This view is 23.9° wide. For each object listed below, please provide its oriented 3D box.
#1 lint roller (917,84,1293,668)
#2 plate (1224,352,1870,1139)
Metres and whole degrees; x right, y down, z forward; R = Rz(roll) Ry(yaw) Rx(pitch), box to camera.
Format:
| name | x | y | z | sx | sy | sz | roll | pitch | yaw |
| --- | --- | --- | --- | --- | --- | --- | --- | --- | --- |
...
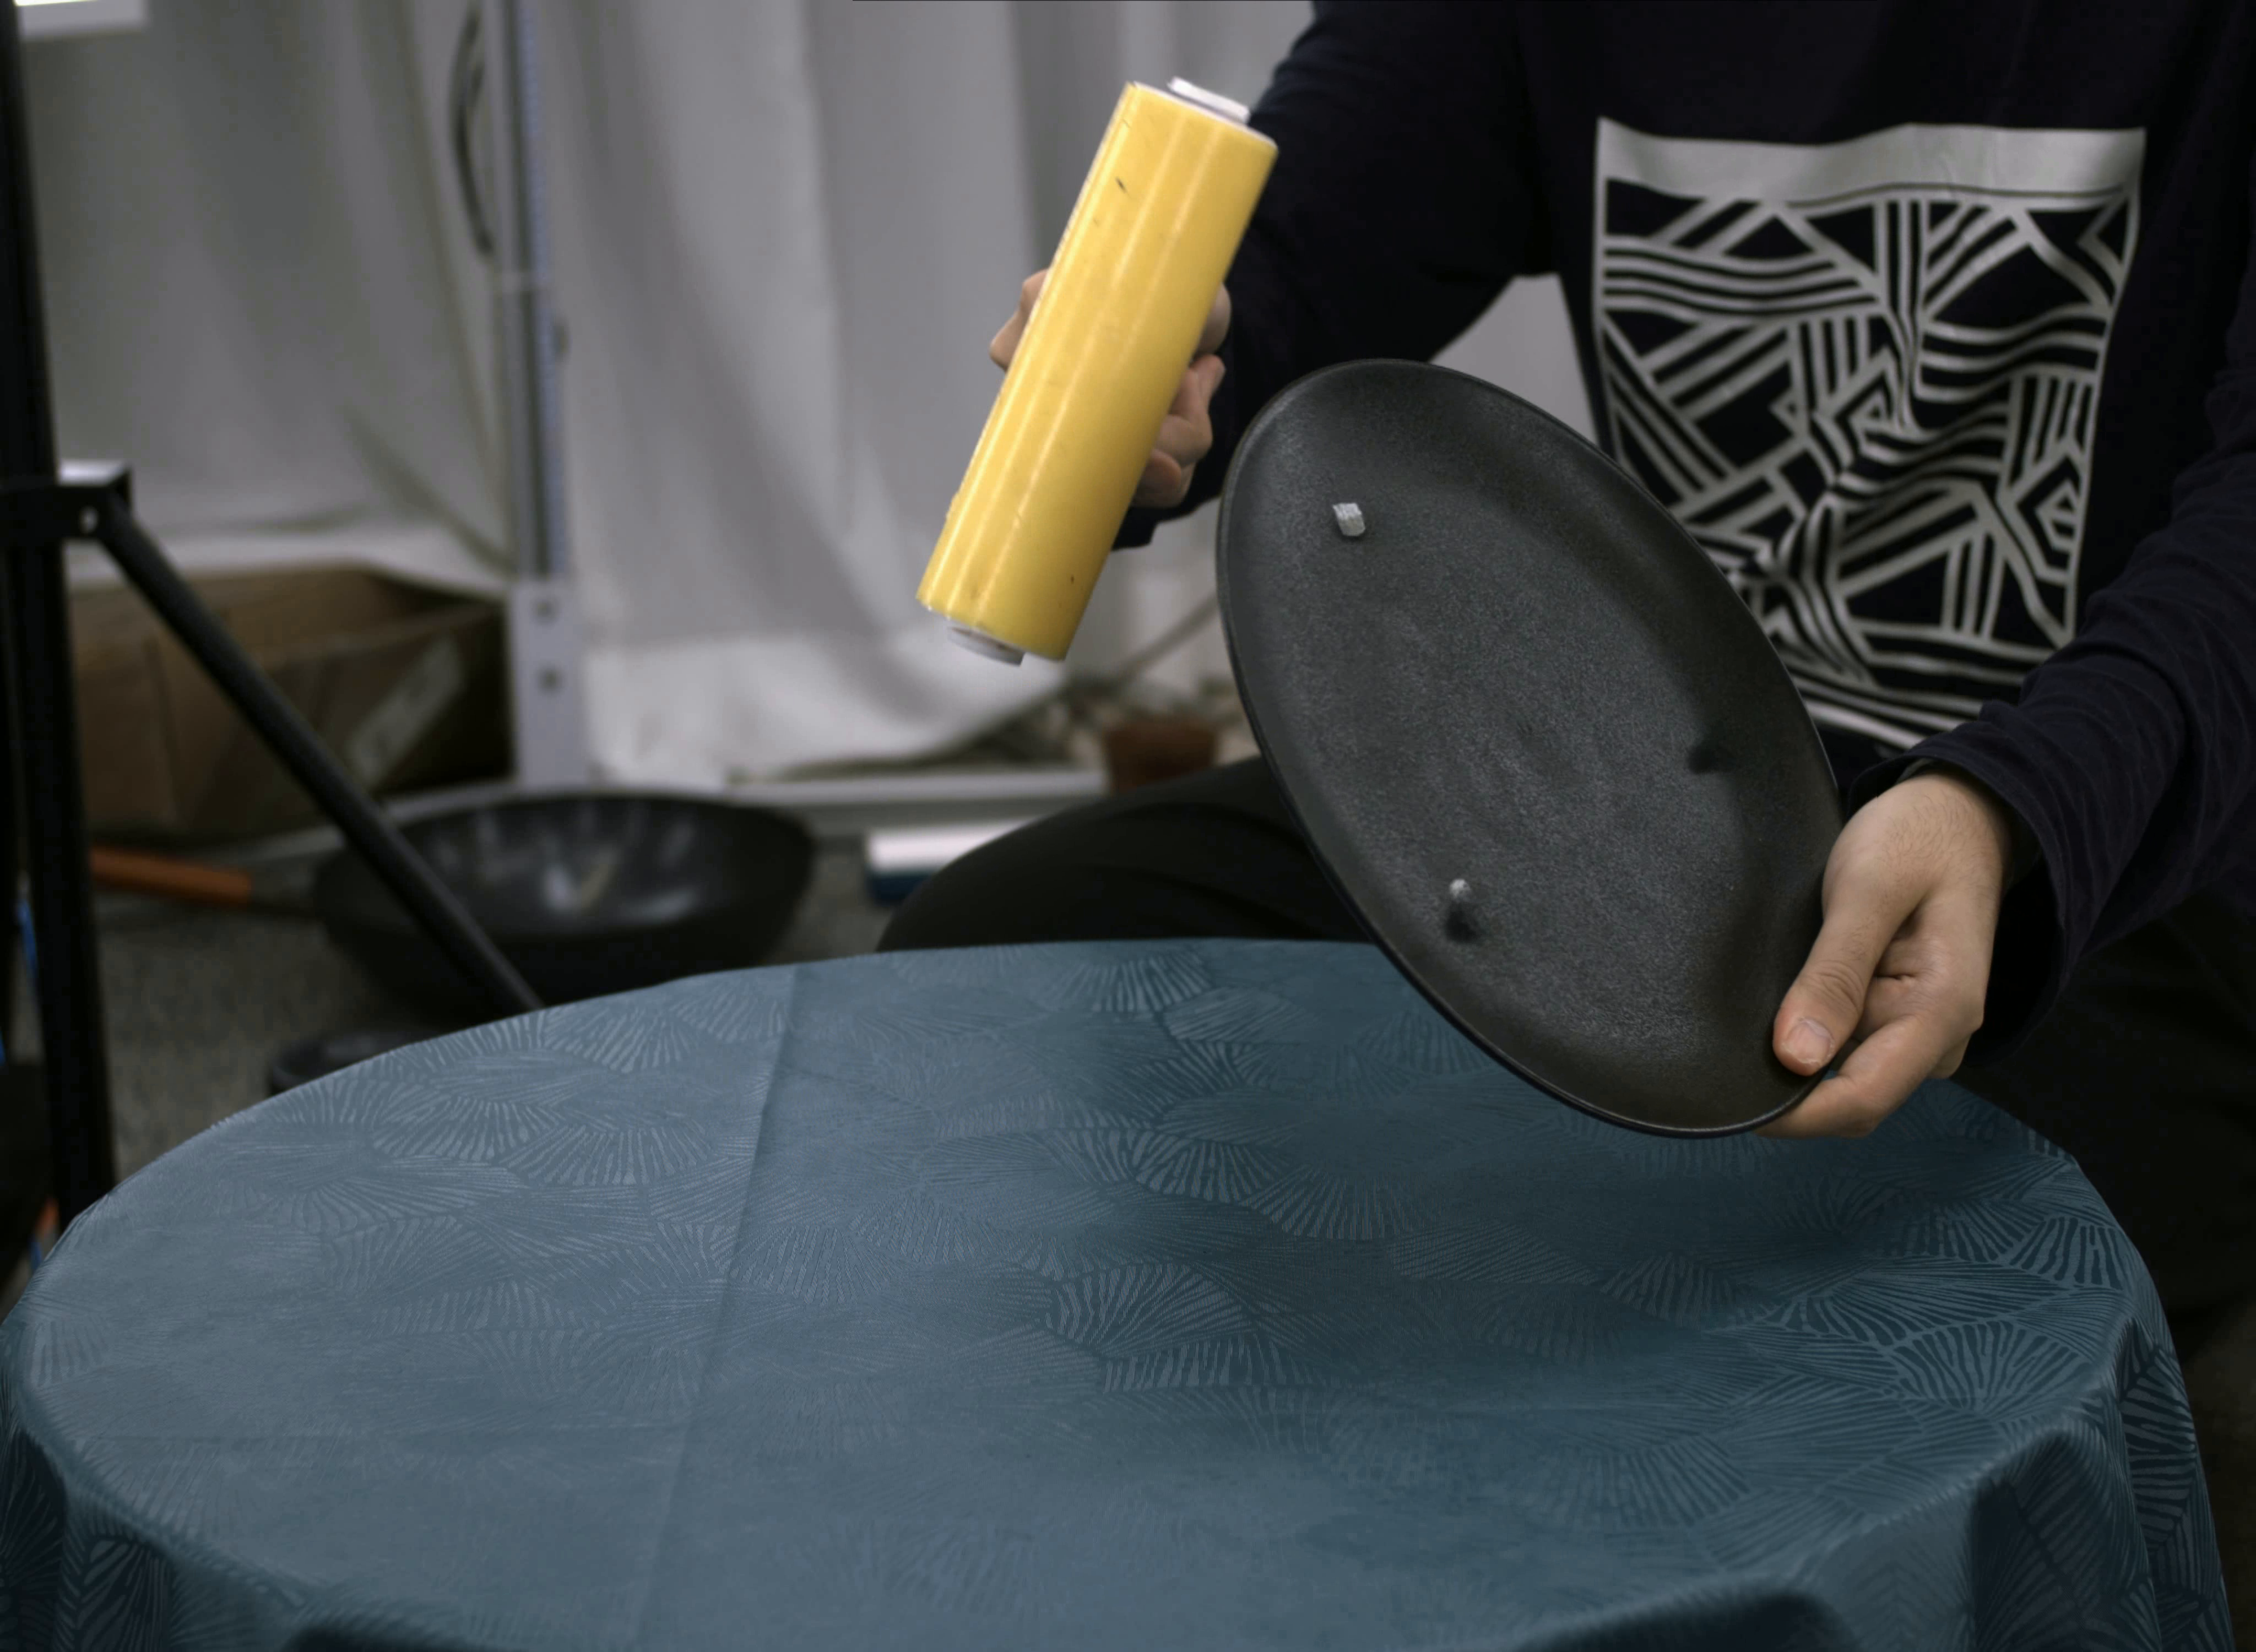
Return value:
| name | x | y | z | sx | sy | sz | roll | pitch | yaw |
| --- | --- | --- | --- | --- | --- | --- | --- | --- | --- |
| lint roller | -0.006 | -0.132 | 1.603 | 0.051 | 0.175 | 0.192 | 24 | 3 | -2 |
| plate | 0.114 | -0.020 | 1.468 | 0.024 | 0.246 | 0.239 | -37 | -10 | 39 |
